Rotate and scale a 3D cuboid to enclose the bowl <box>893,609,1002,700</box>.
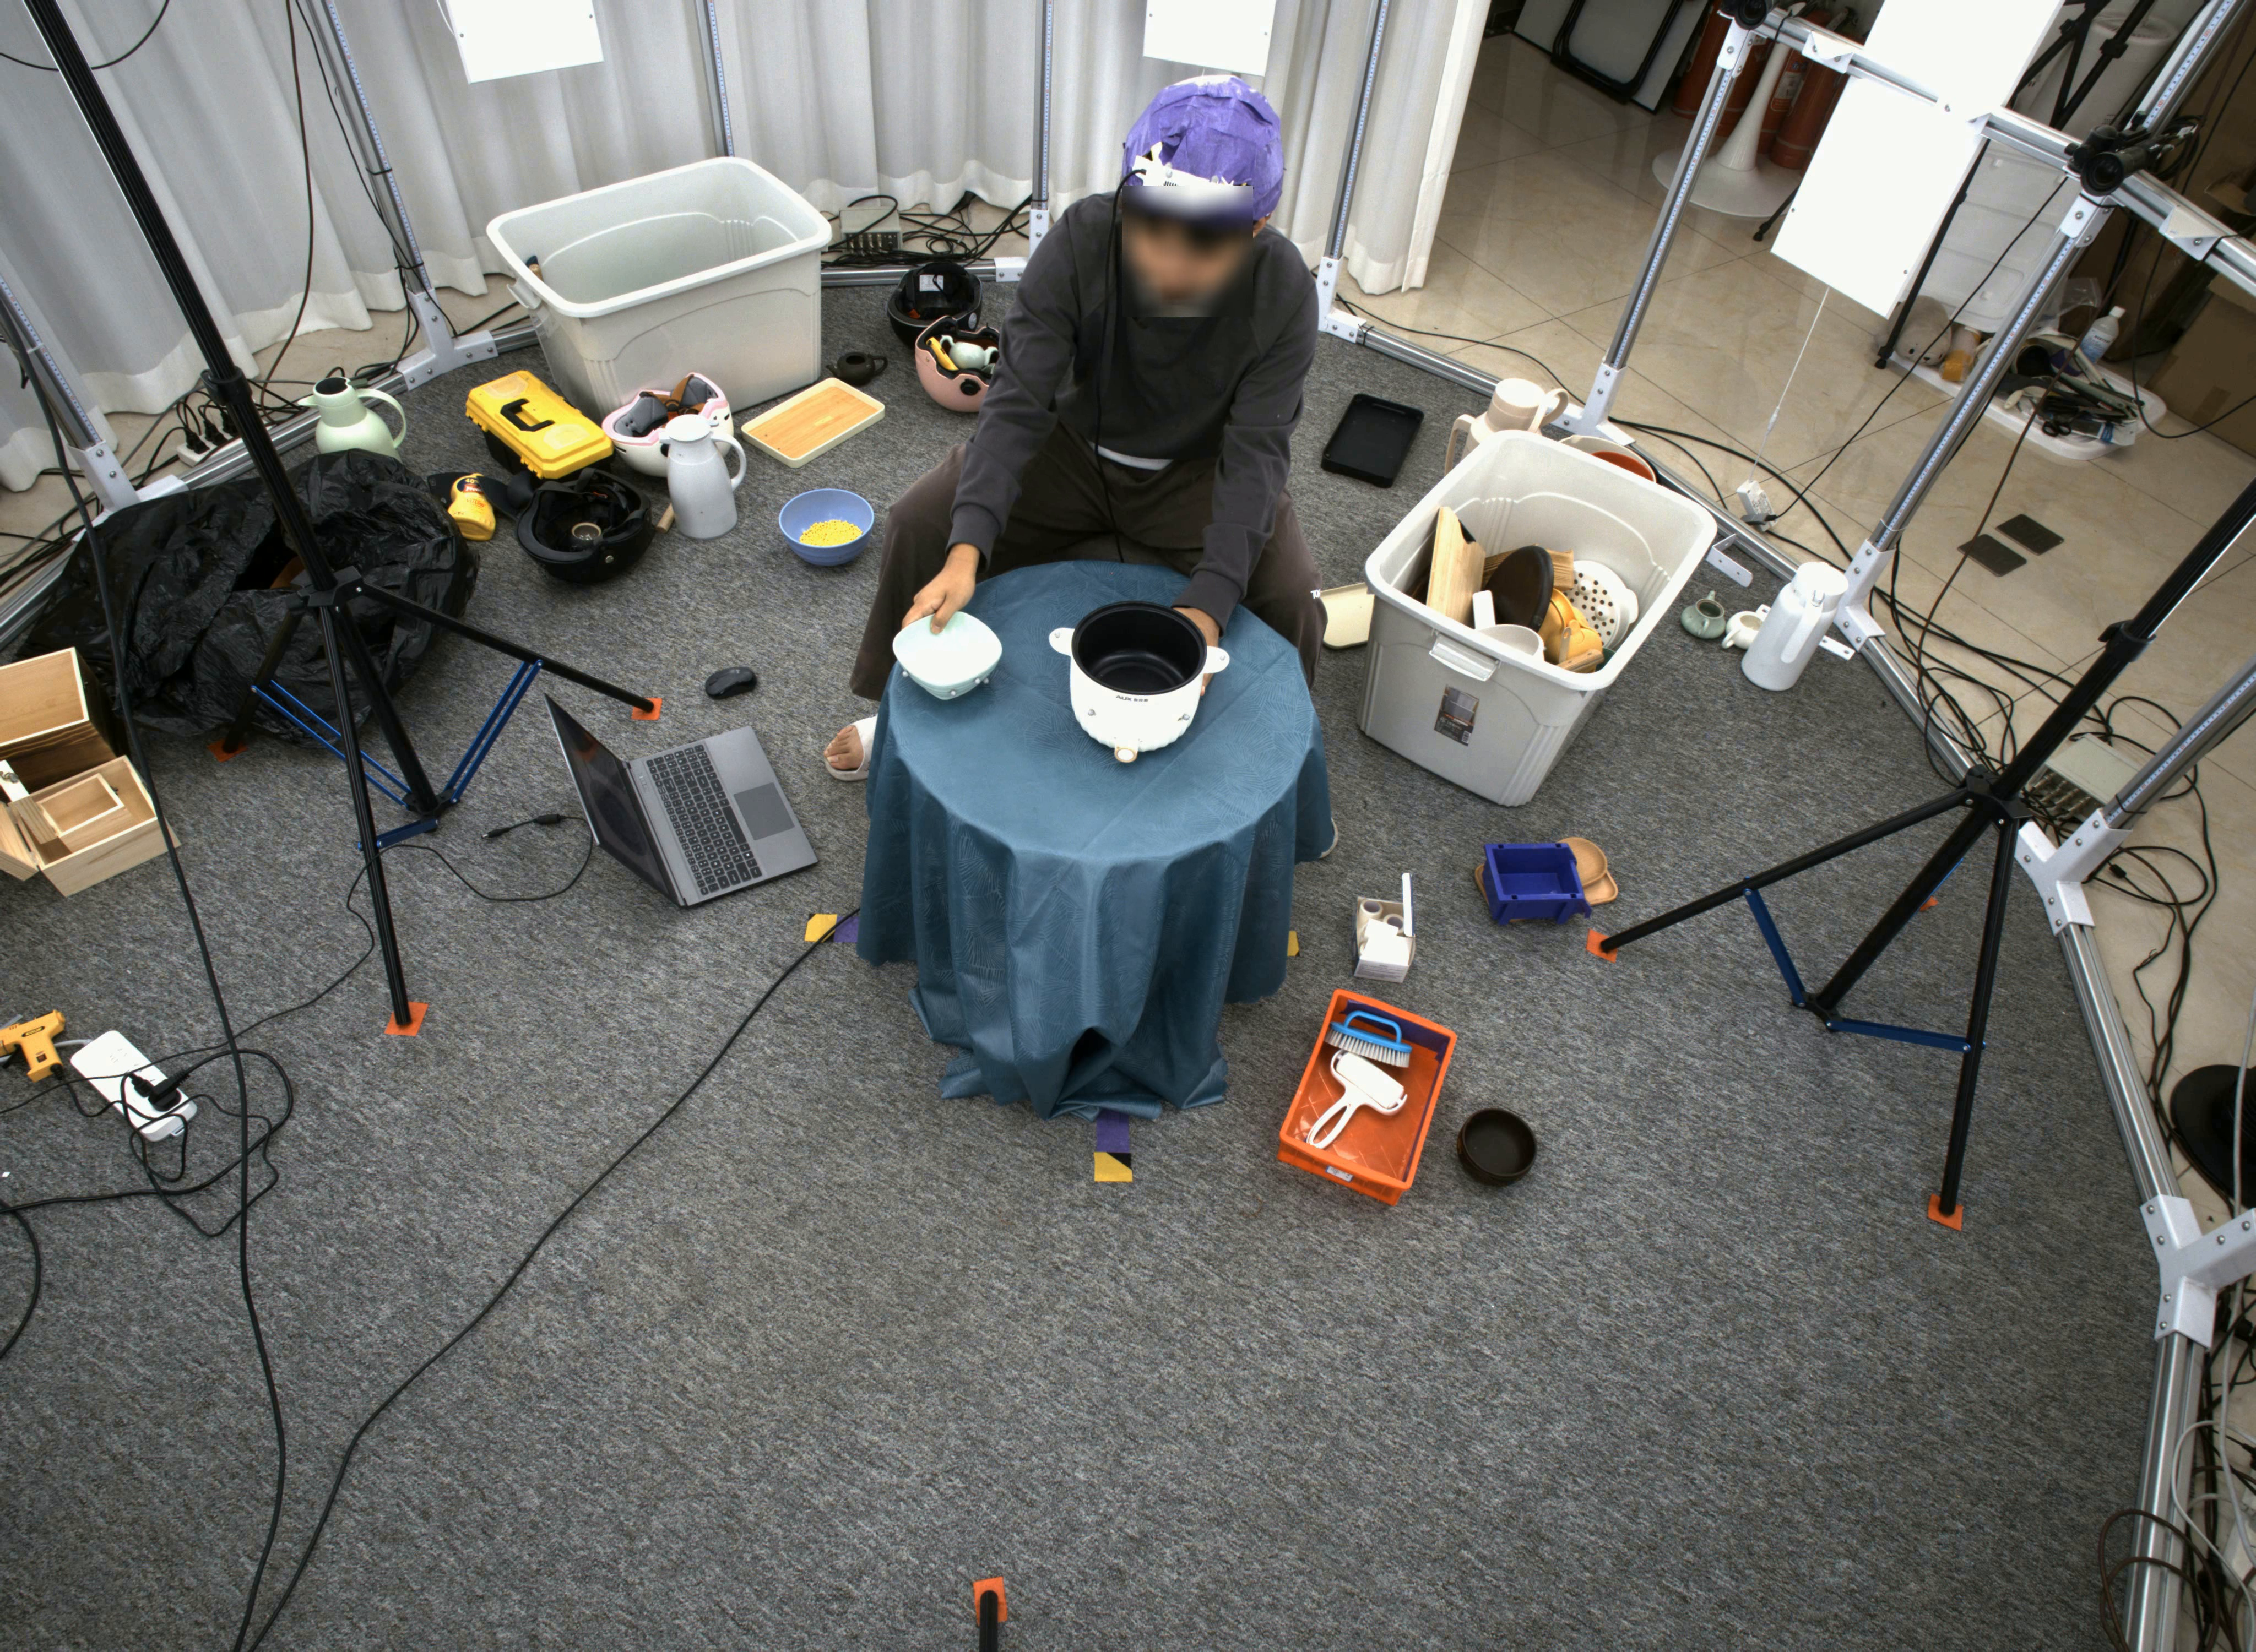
[{"bbox_3d":[-0.253,-0.233,1.812,0.151,0.057,0.155,3,50,-4],"label":"bowl"}]

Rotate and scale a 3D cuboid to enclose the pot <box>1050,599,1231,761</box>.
[{"bbox_3d":[0.014,-0.195,1.744,0.240,0.139,0.195,5,46,2],"label":"pot"}]
